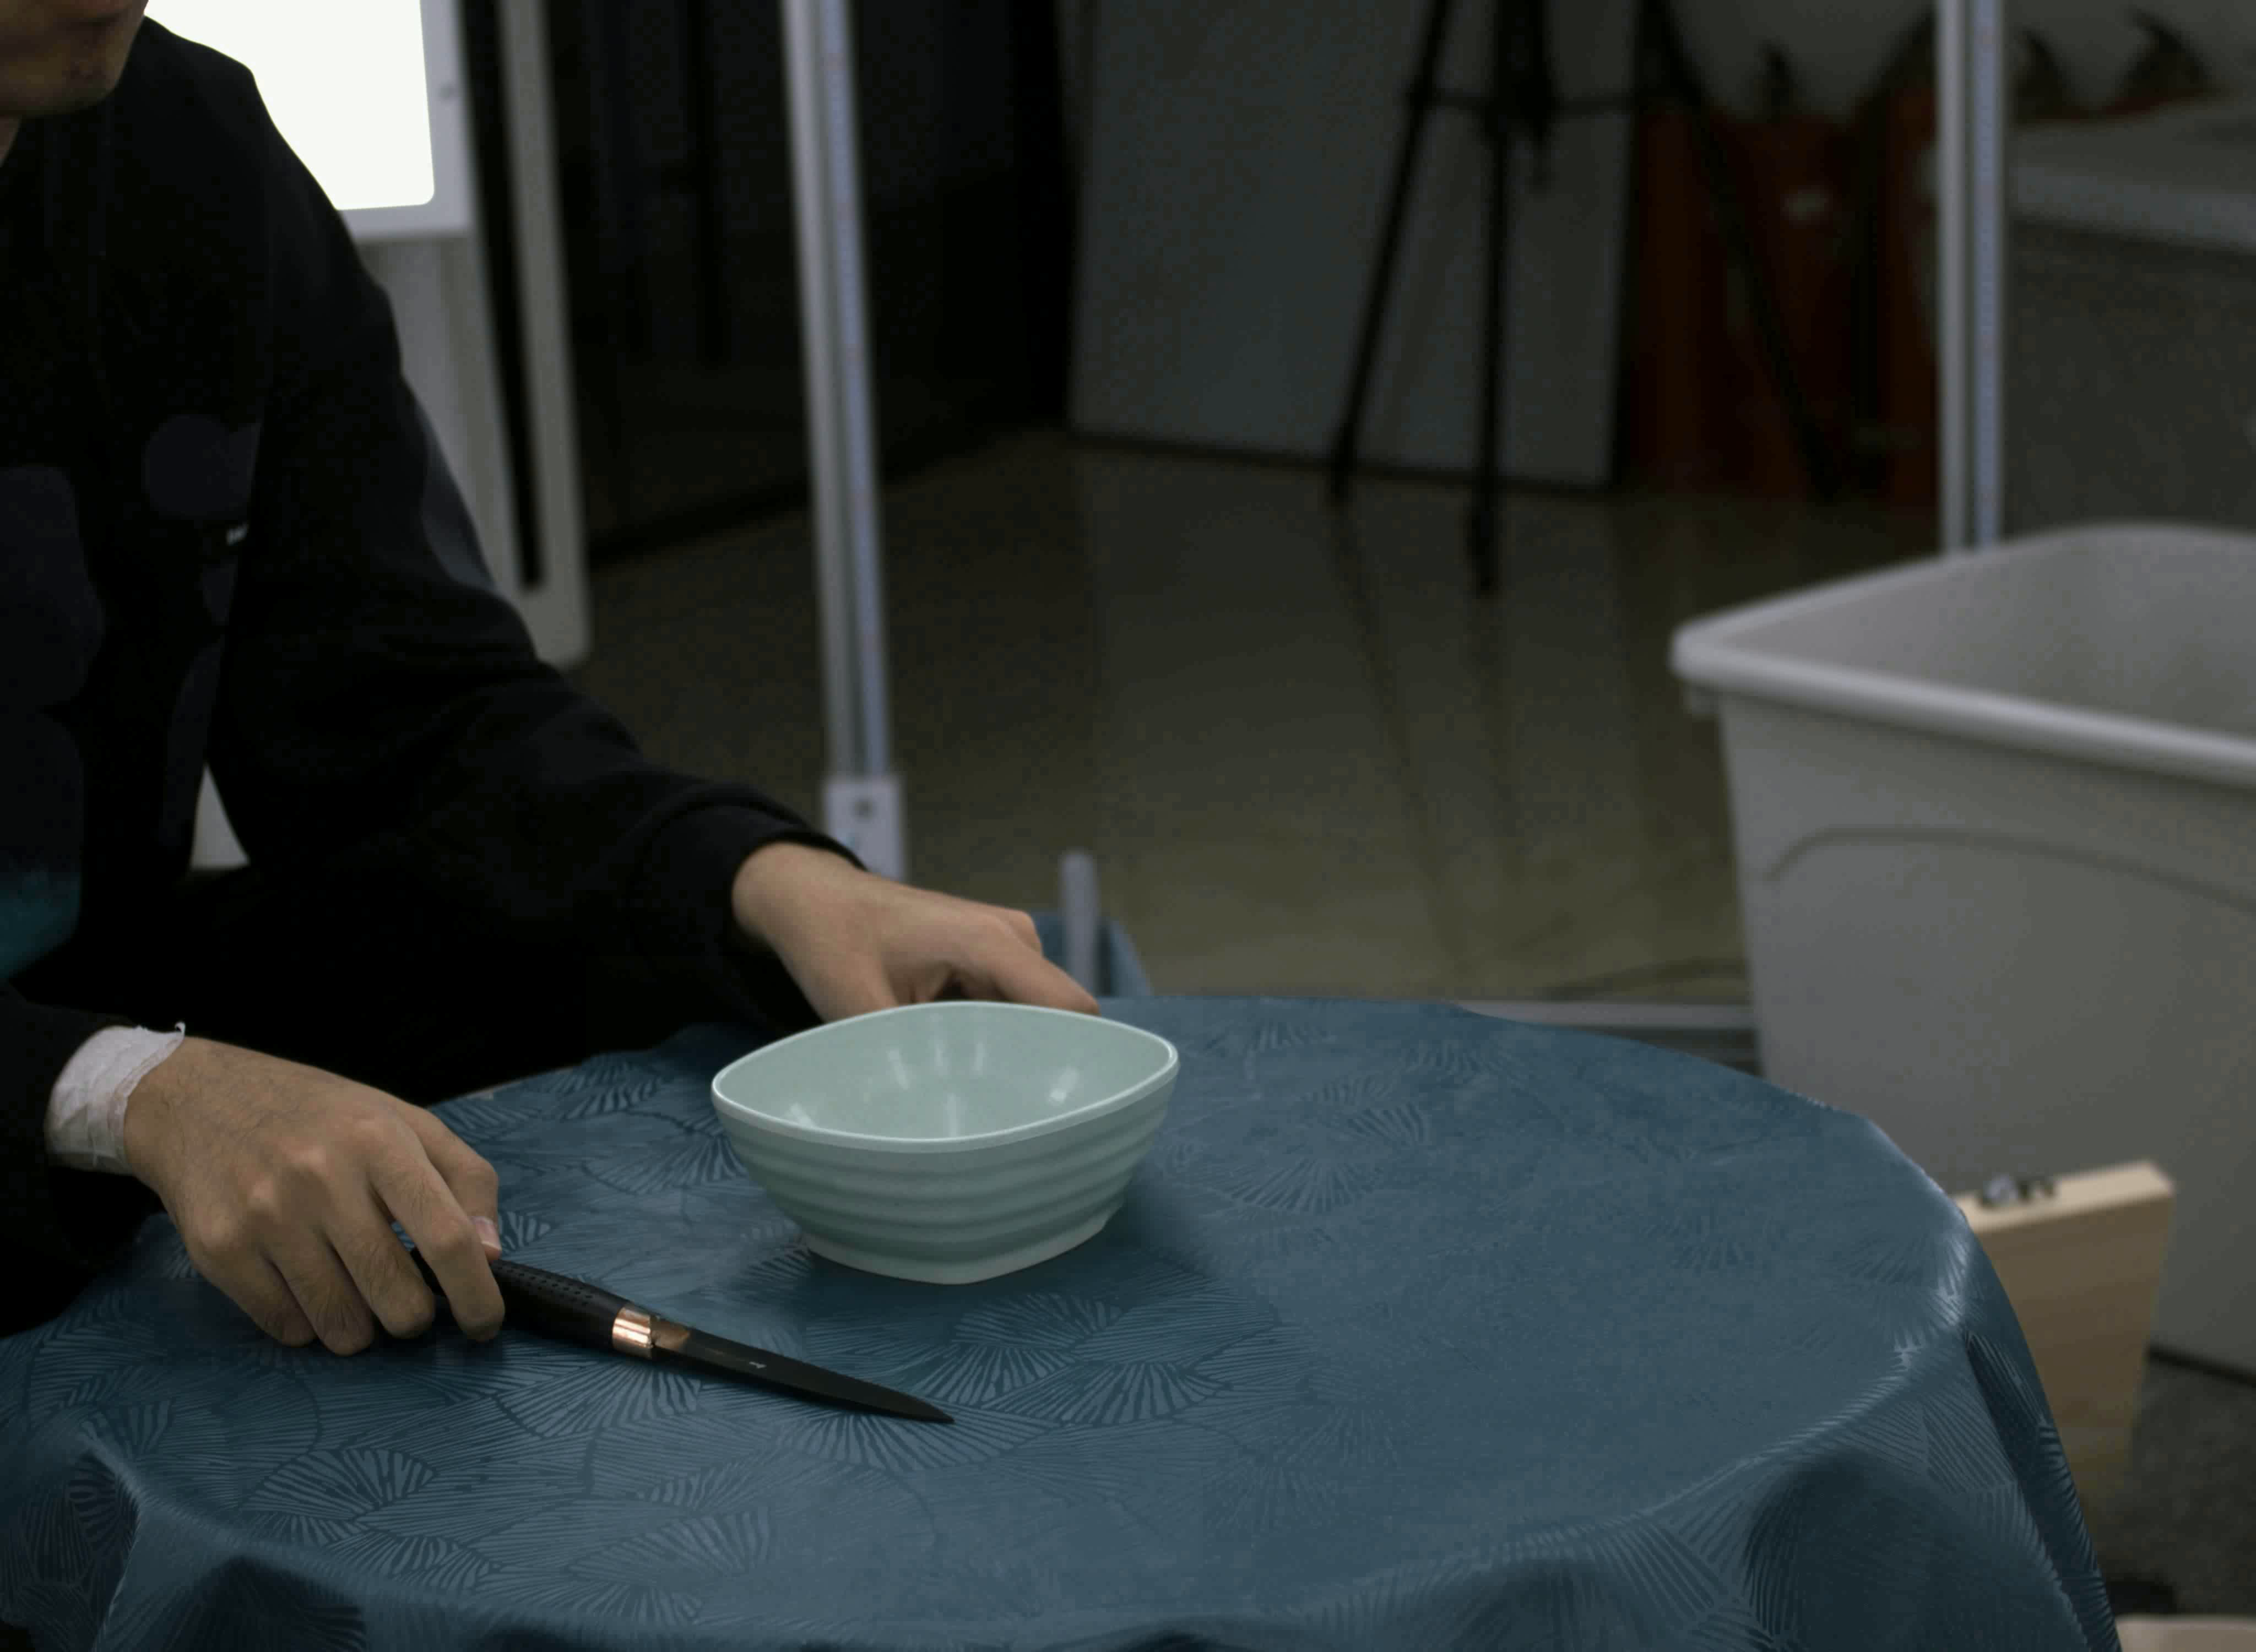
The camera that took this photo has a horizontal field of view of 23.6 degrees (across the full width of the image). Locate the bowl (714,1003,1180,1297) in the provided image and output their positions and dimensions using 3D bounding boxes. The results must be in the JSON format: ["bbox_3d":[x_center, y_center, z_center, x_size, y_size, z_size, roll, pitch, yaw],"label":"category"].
[{"bbox_3d":[-0.056,0.107,1.731,0.149,0.059,0.152,-5,15,0],"label":"bowl"}]

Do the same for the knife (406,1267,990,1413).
[{"bbox_3d":[-0.133,0.158,1.640,0.227,0.017,0.025,8,11,37],"label":"knife"}]
